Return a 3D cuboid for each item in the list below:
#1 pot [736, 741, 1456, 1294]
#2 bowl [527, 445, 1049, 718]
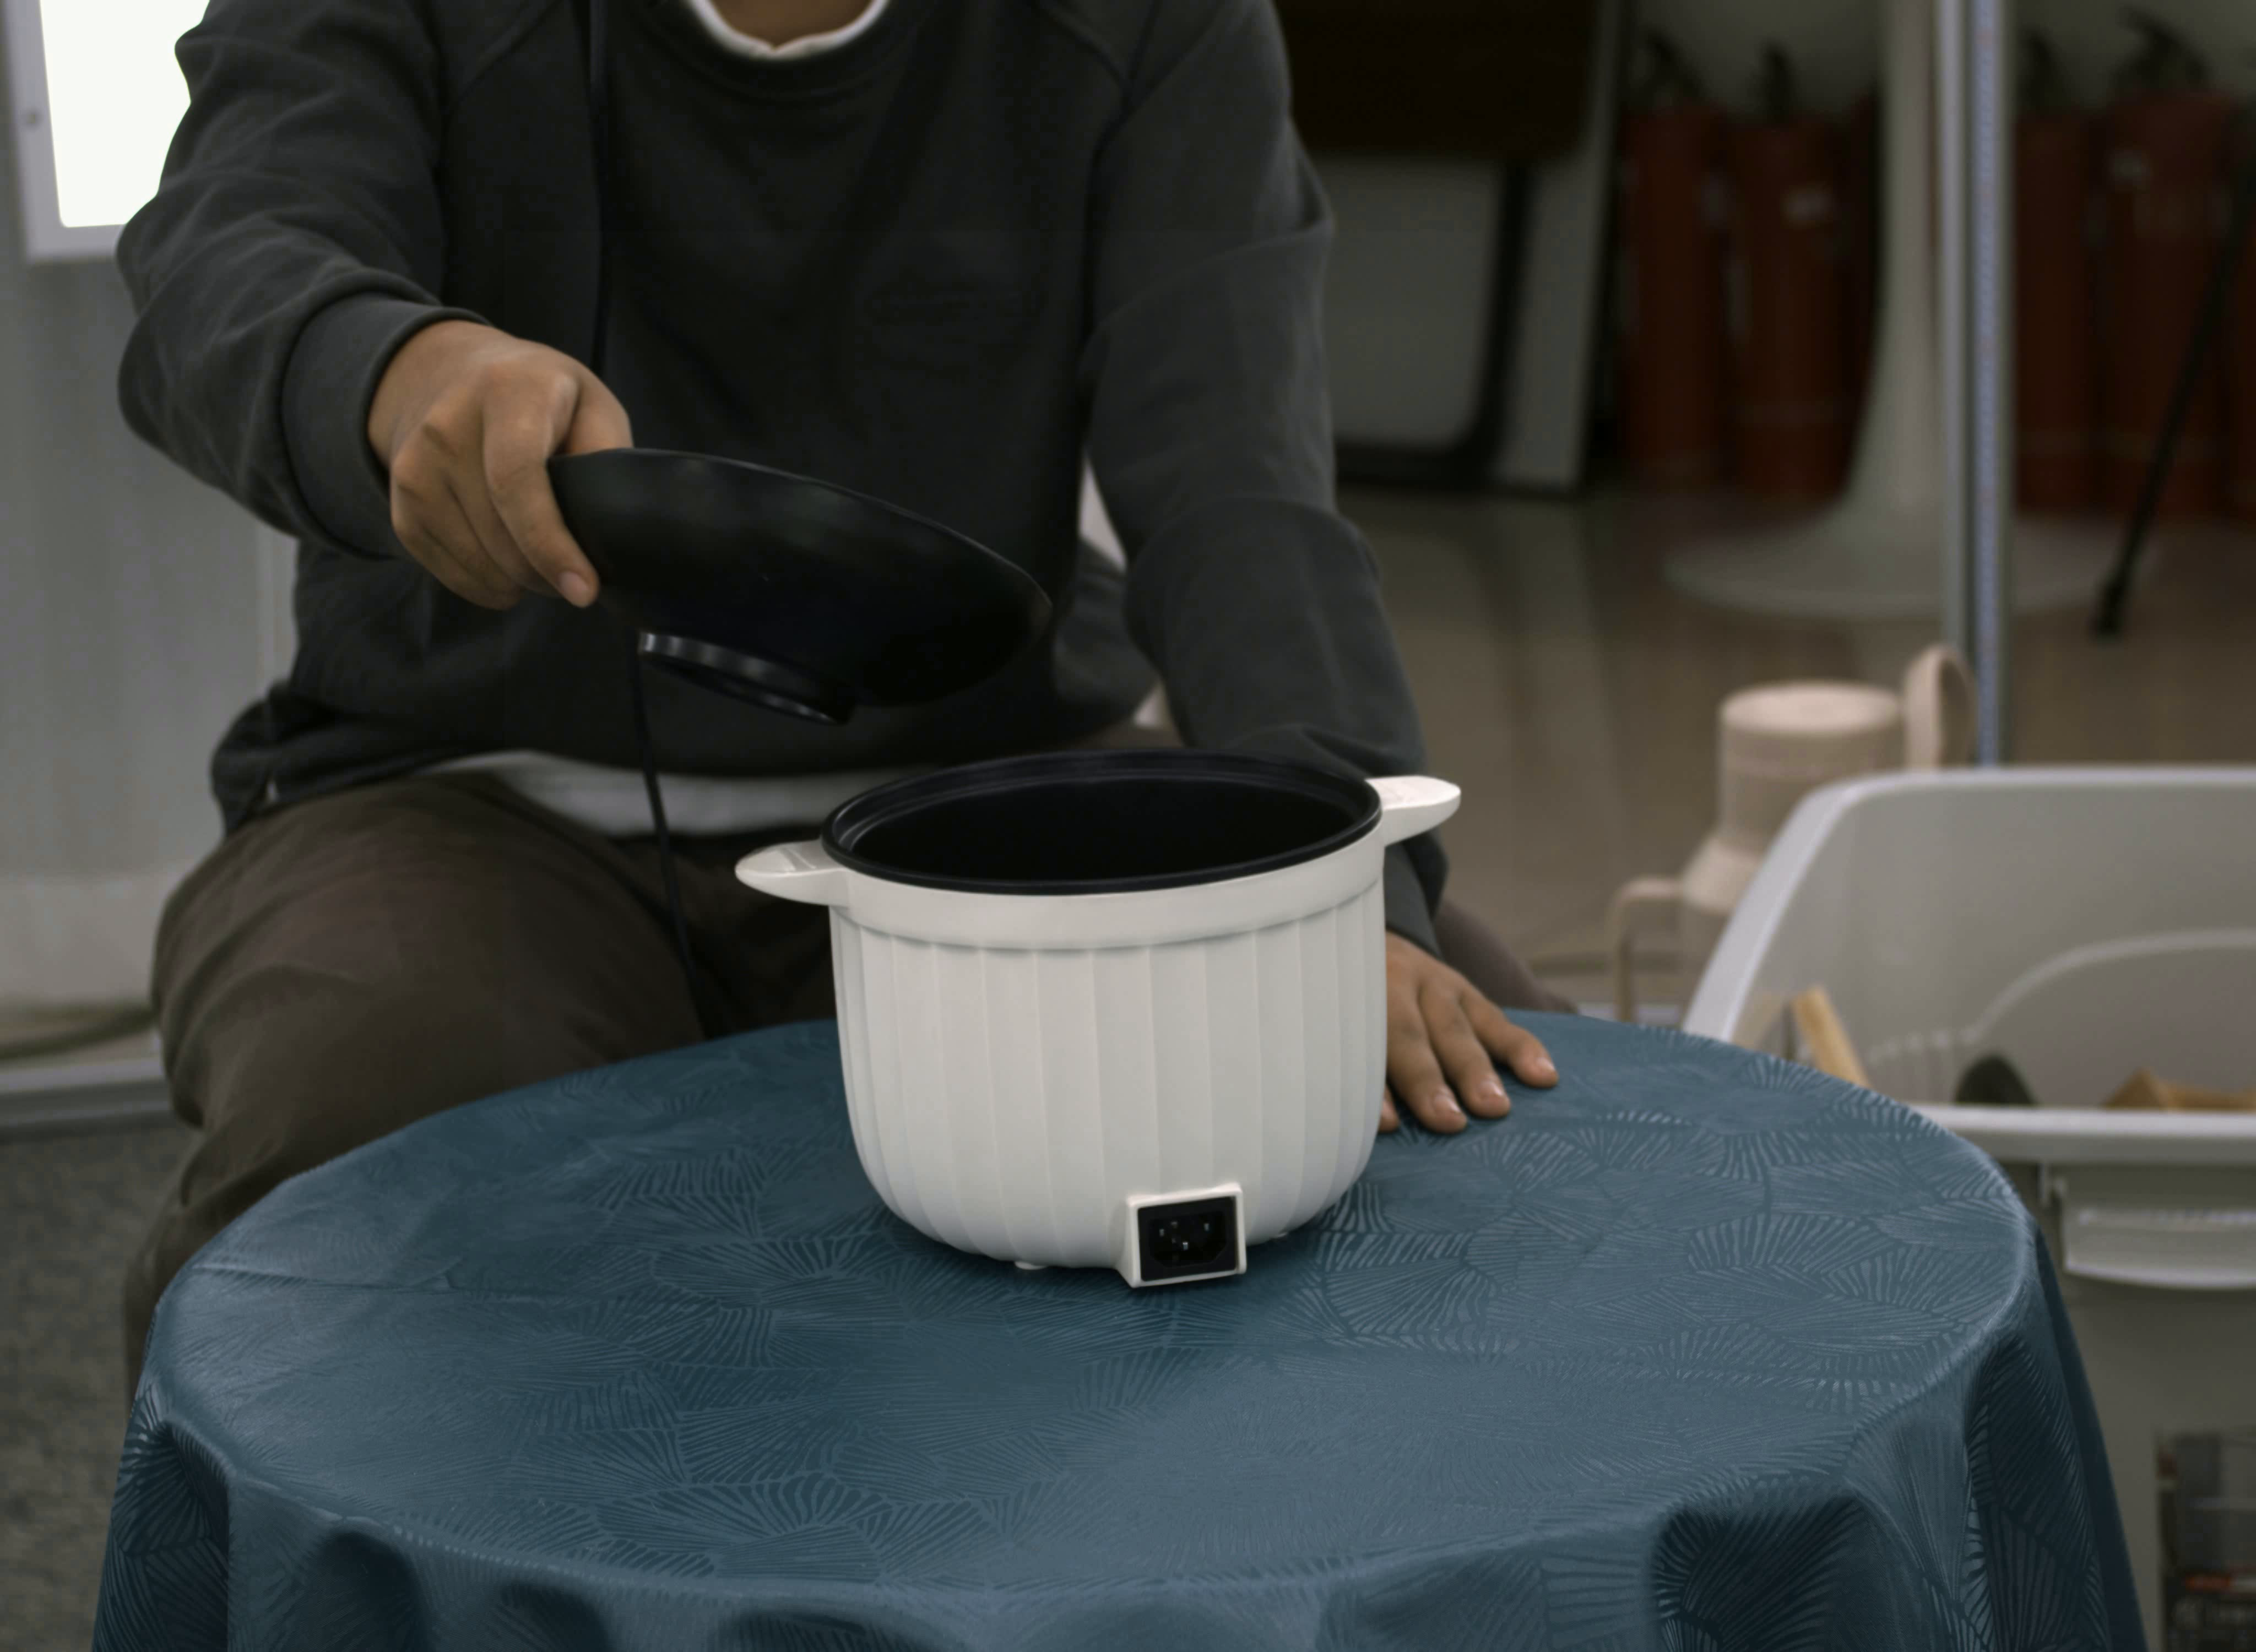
[{"bbox_3d":[-0.008,0.059,1.740,0.236,0.144,0.192,-6,17,-13],"label":"pot"},{"bbox_3d":[-0.111,-0.074,1.701,0.167,0.067,0.138,18,-6,-10],"label":"bowl"}]
